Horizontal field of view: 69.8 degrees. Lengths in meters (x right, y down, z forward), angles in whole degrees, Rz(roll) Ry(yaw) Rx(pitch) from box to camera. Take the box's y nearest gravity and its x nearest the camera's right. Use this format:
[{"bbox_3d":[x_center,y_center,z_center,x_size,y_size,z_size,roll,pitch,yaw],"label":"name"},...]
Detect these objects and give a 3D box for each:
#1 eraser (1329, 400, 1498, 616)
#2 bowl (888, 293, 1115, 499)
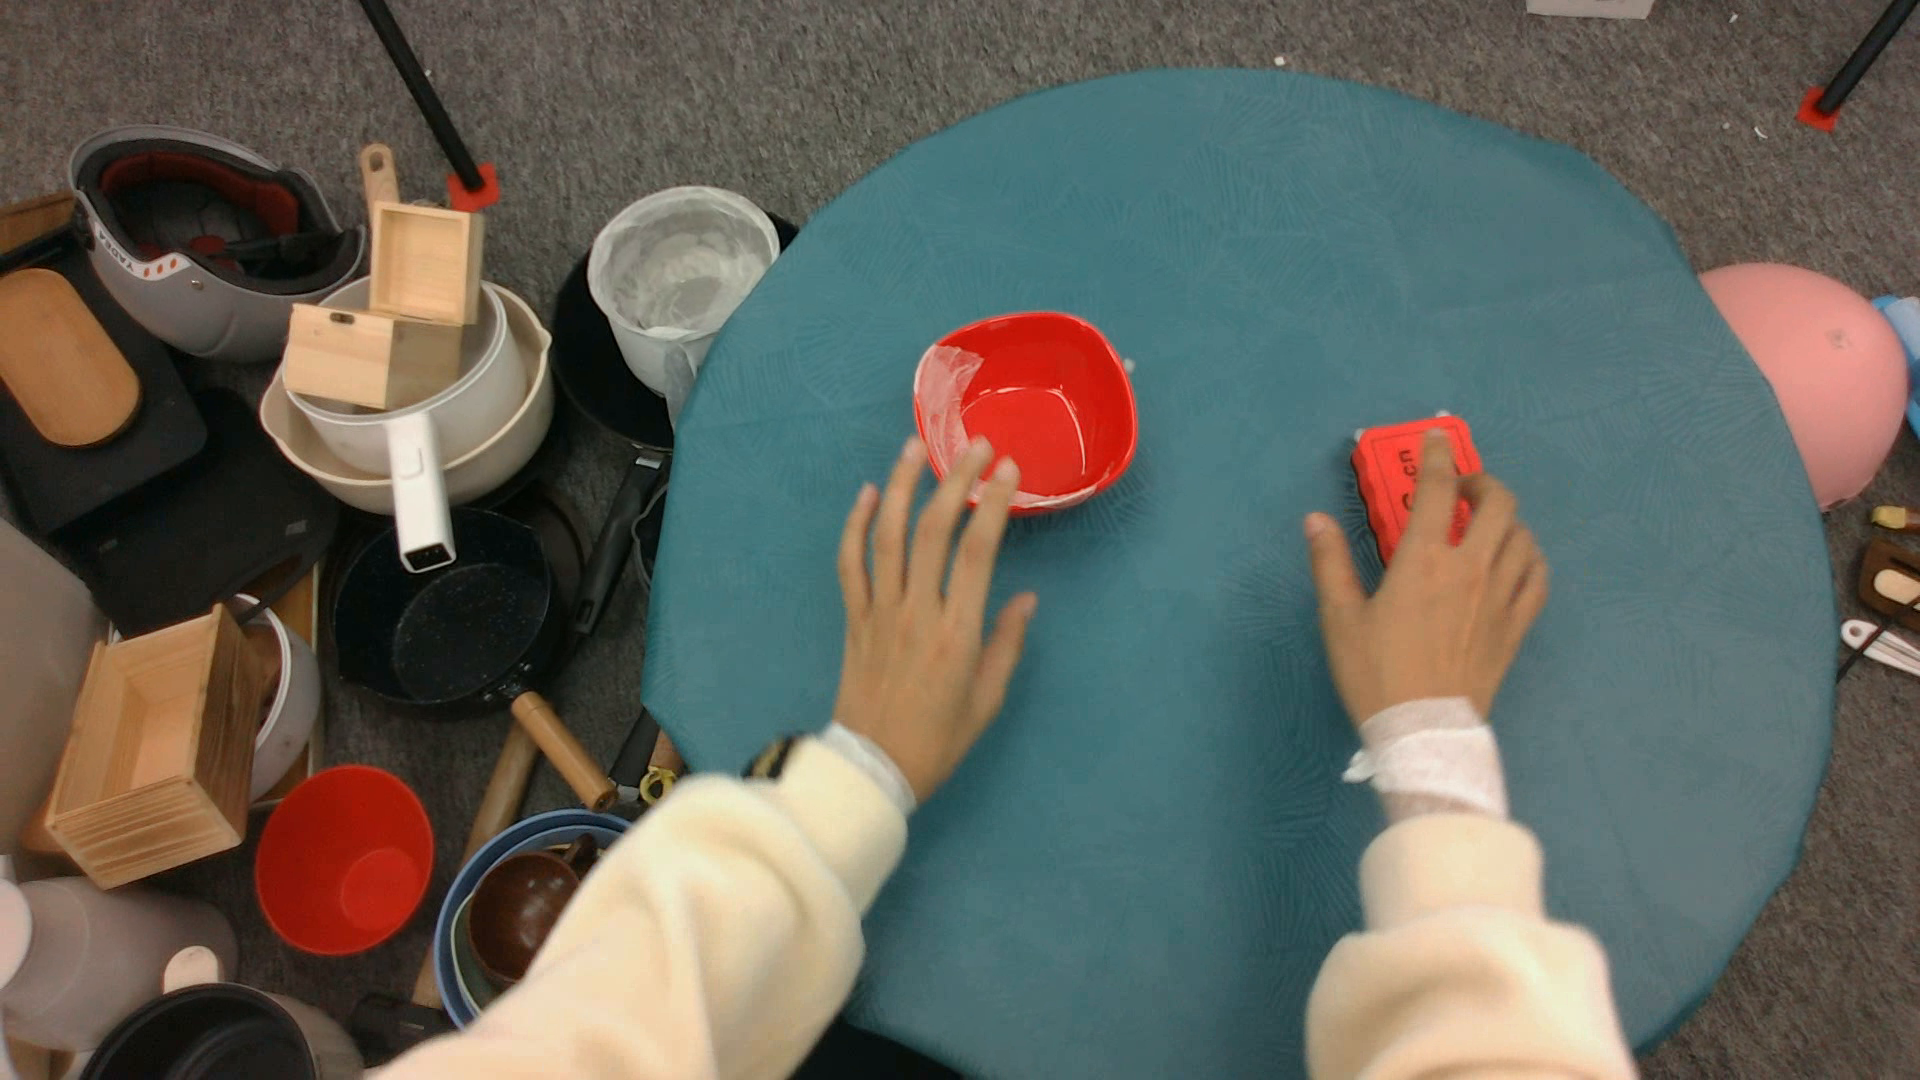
[{"bbox_3d":[0.229,-0.017,0.701,0.059,0.023,0.108,-8,67,-5],"label":"eraser"},{"bbox_3d":[0.020,-0.066,0.706,0.119,0.051,0.119,1,67,-1],"label":"bowl"}]
